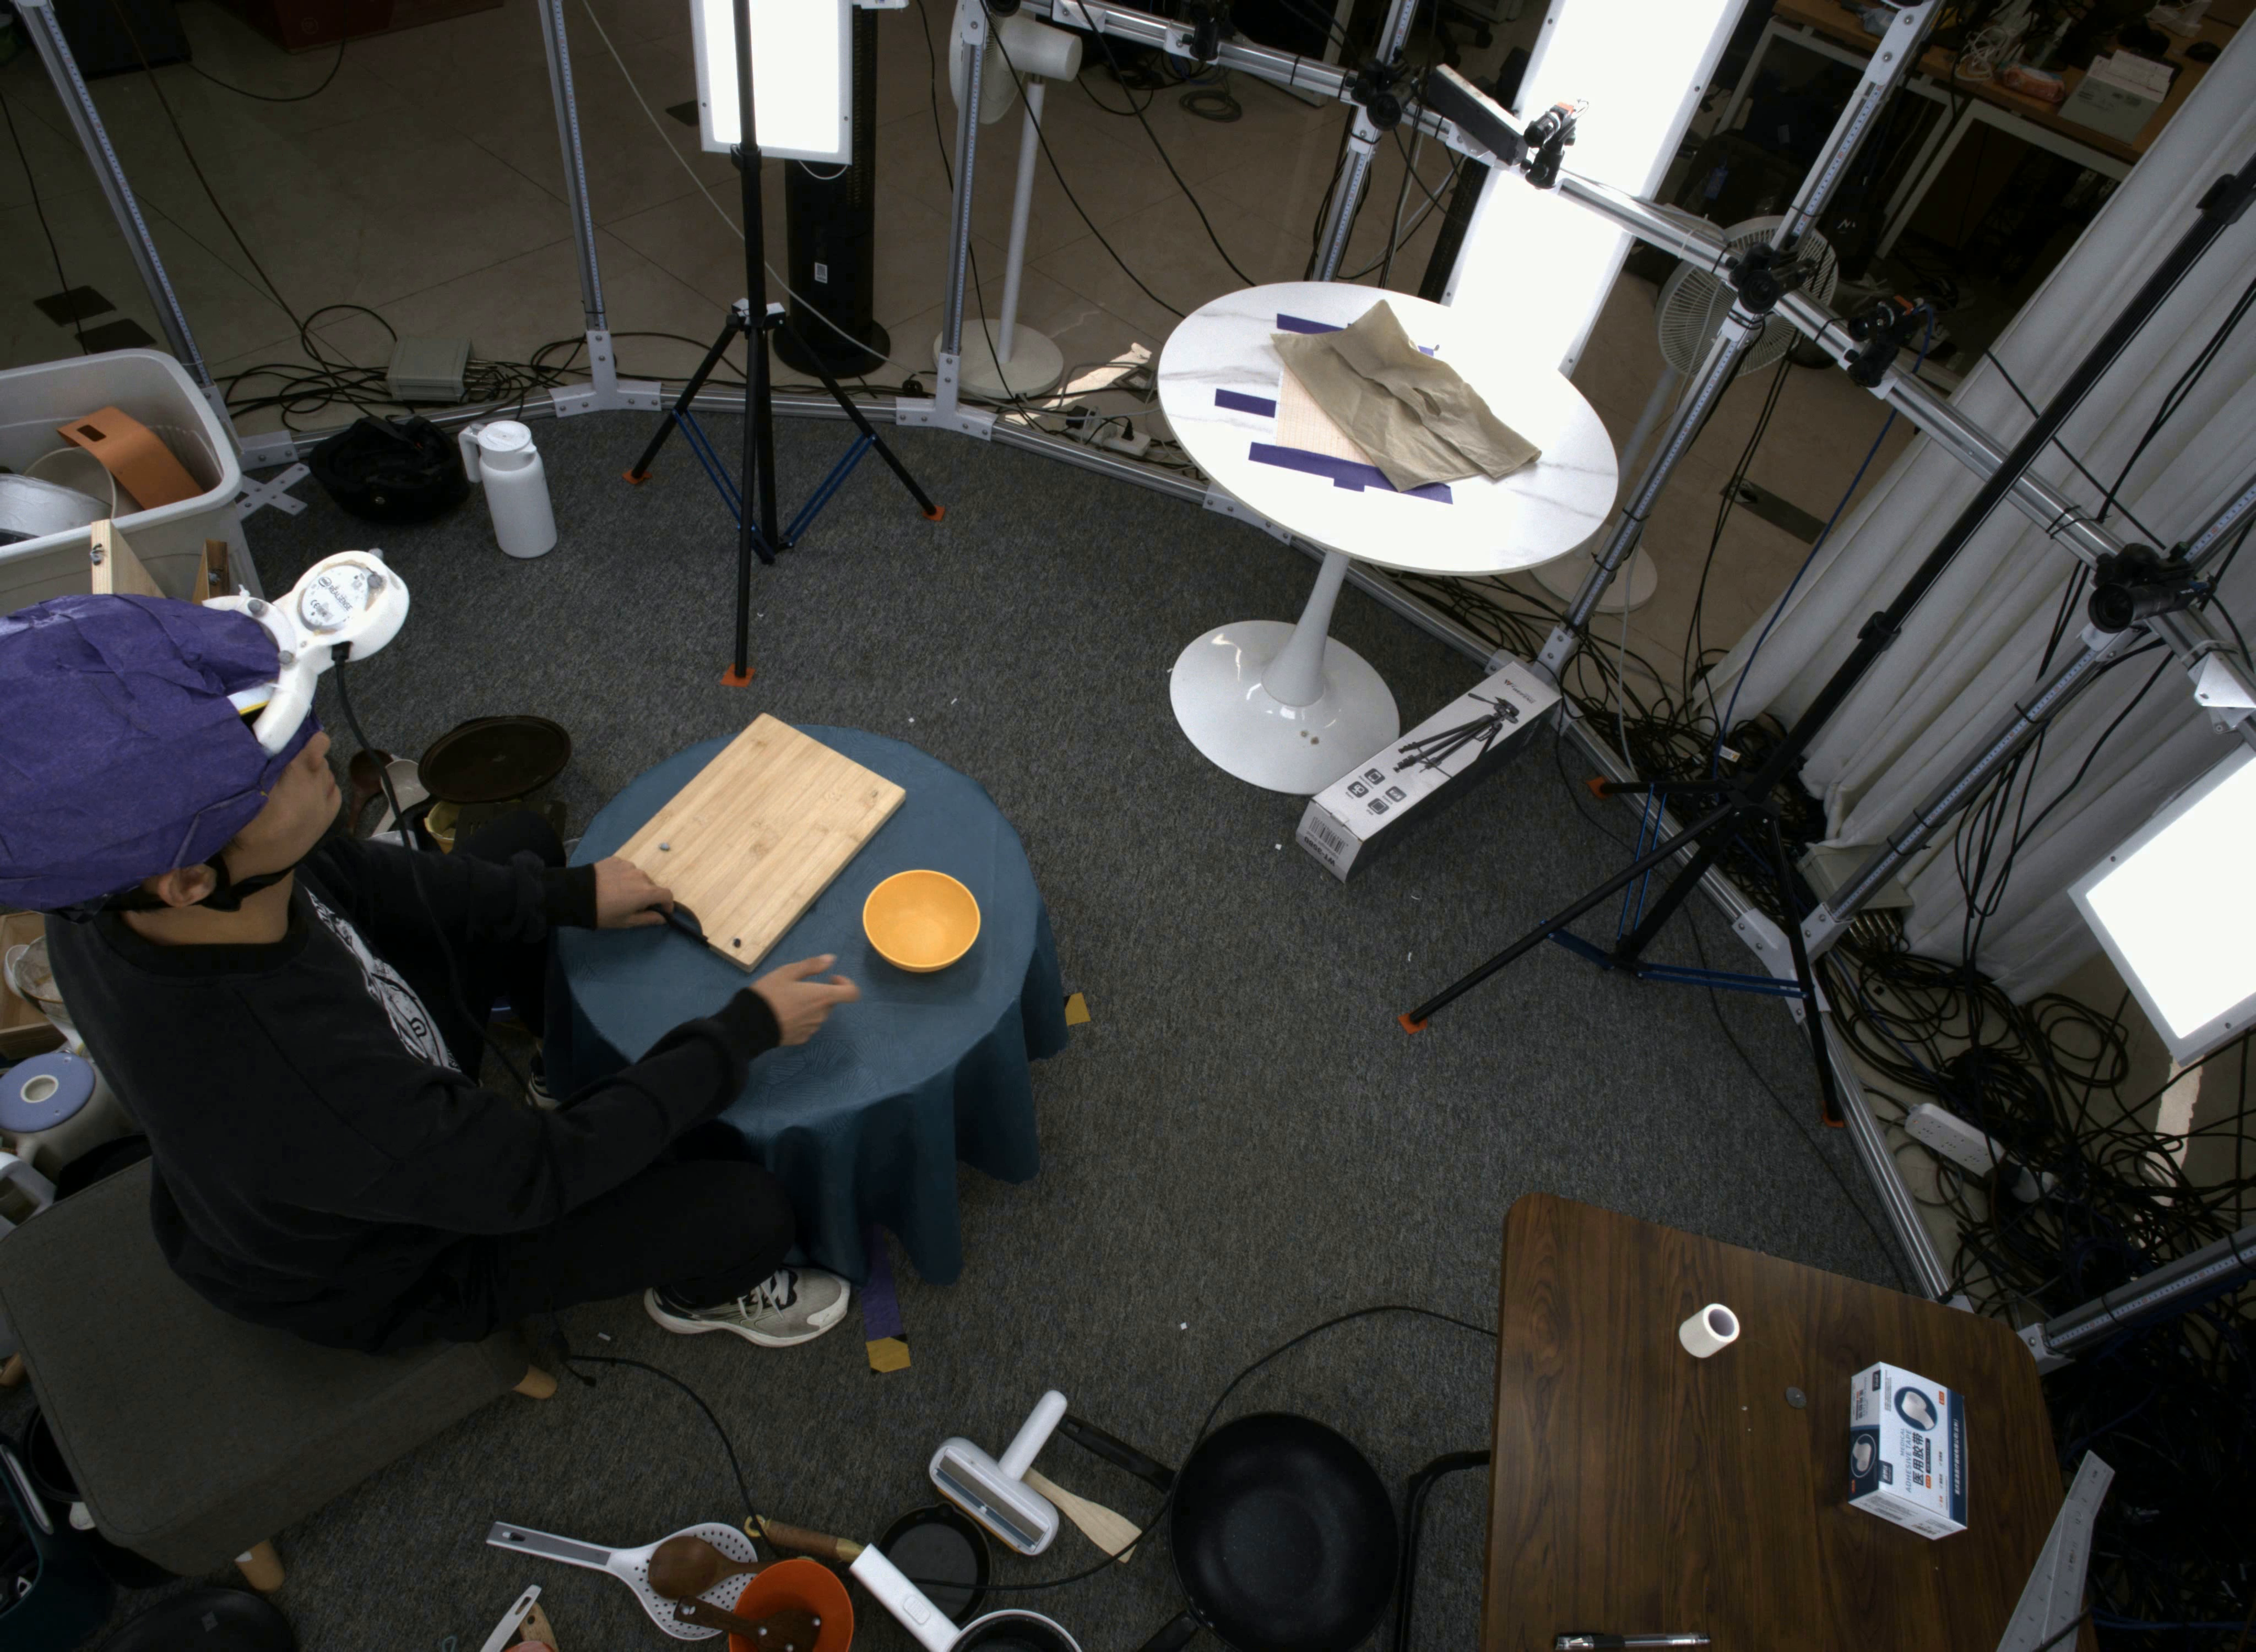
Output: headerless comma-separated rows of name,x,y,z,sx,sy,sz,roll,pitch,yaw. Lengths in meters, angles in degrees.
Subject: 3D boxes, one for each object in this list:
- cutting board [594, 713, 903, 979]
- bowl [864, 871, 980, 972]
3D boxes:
cutting board,-0.489,0.014,1.692,0.247,0.024,0.347,28,52,7
bowl,-0.259,0.129,1.639,0.144,0.061,0.142,6,52,-6
